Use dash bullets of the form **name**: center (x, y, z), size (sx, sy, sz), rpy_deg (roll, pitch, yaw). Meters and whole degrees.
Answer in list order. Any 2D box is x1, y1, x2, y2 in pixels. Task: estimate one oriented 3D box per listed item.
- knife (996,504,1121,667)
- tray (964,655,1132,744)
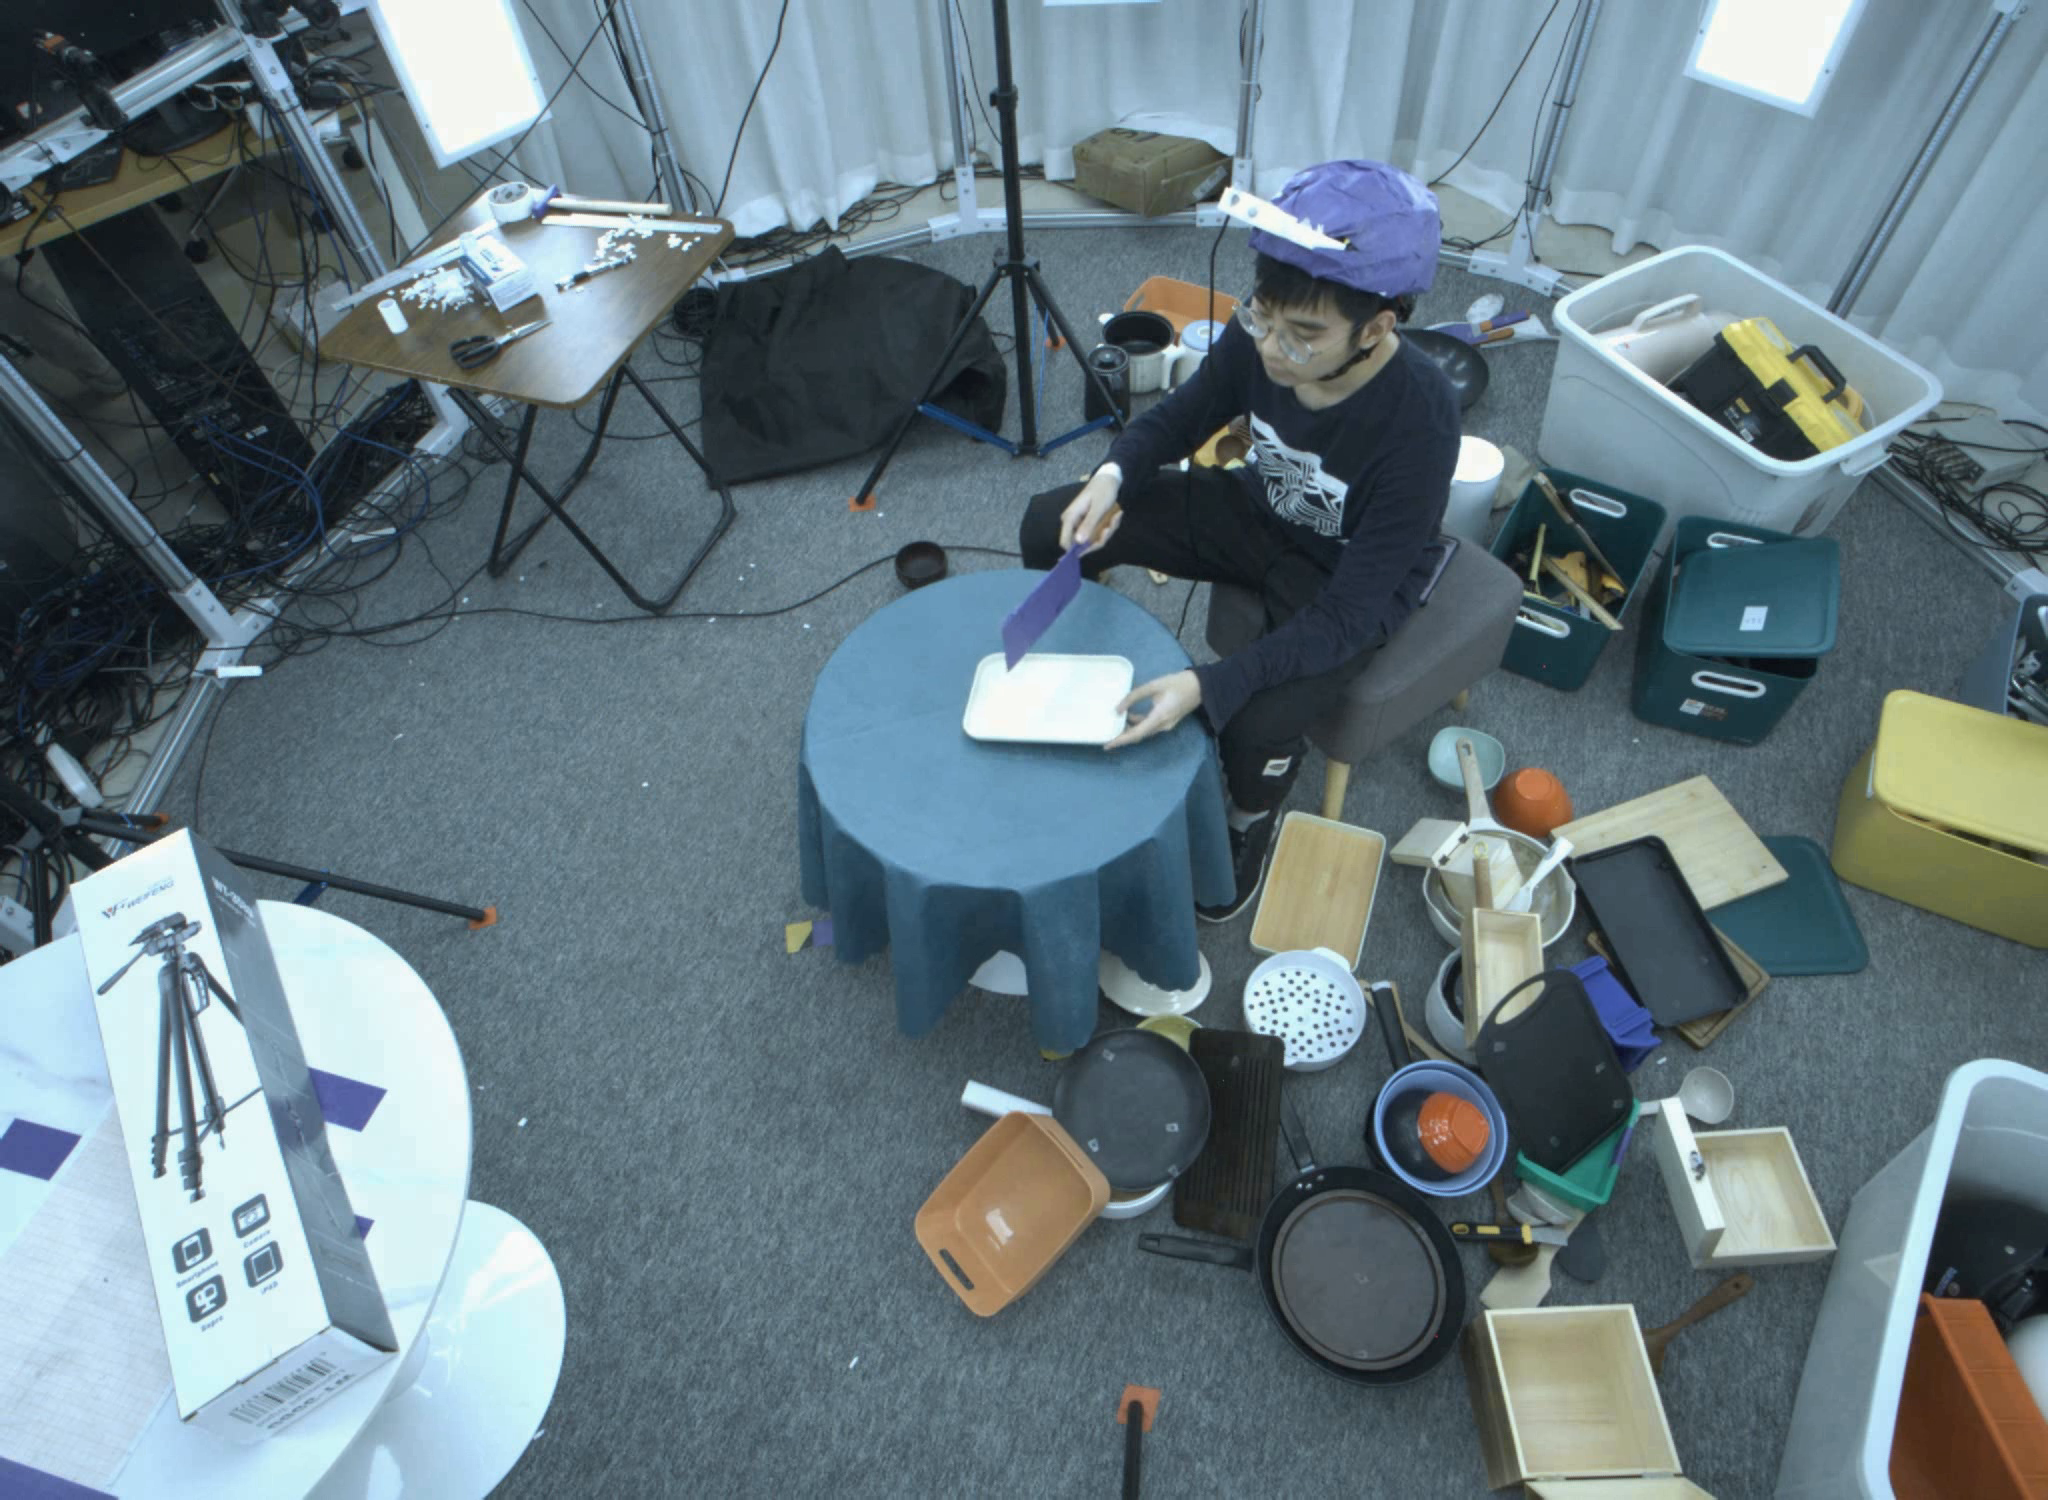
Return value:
- **knife**: center (0.050, -0.243, 1.797), size (0.031, 0.105, 0.317), rpy_deg (25, 54, 25)
- **tray**: center (0.037, -0.074, 1.822), size (0.238, 0.018, 0.170), rpy_deg (2, 52, 10)
